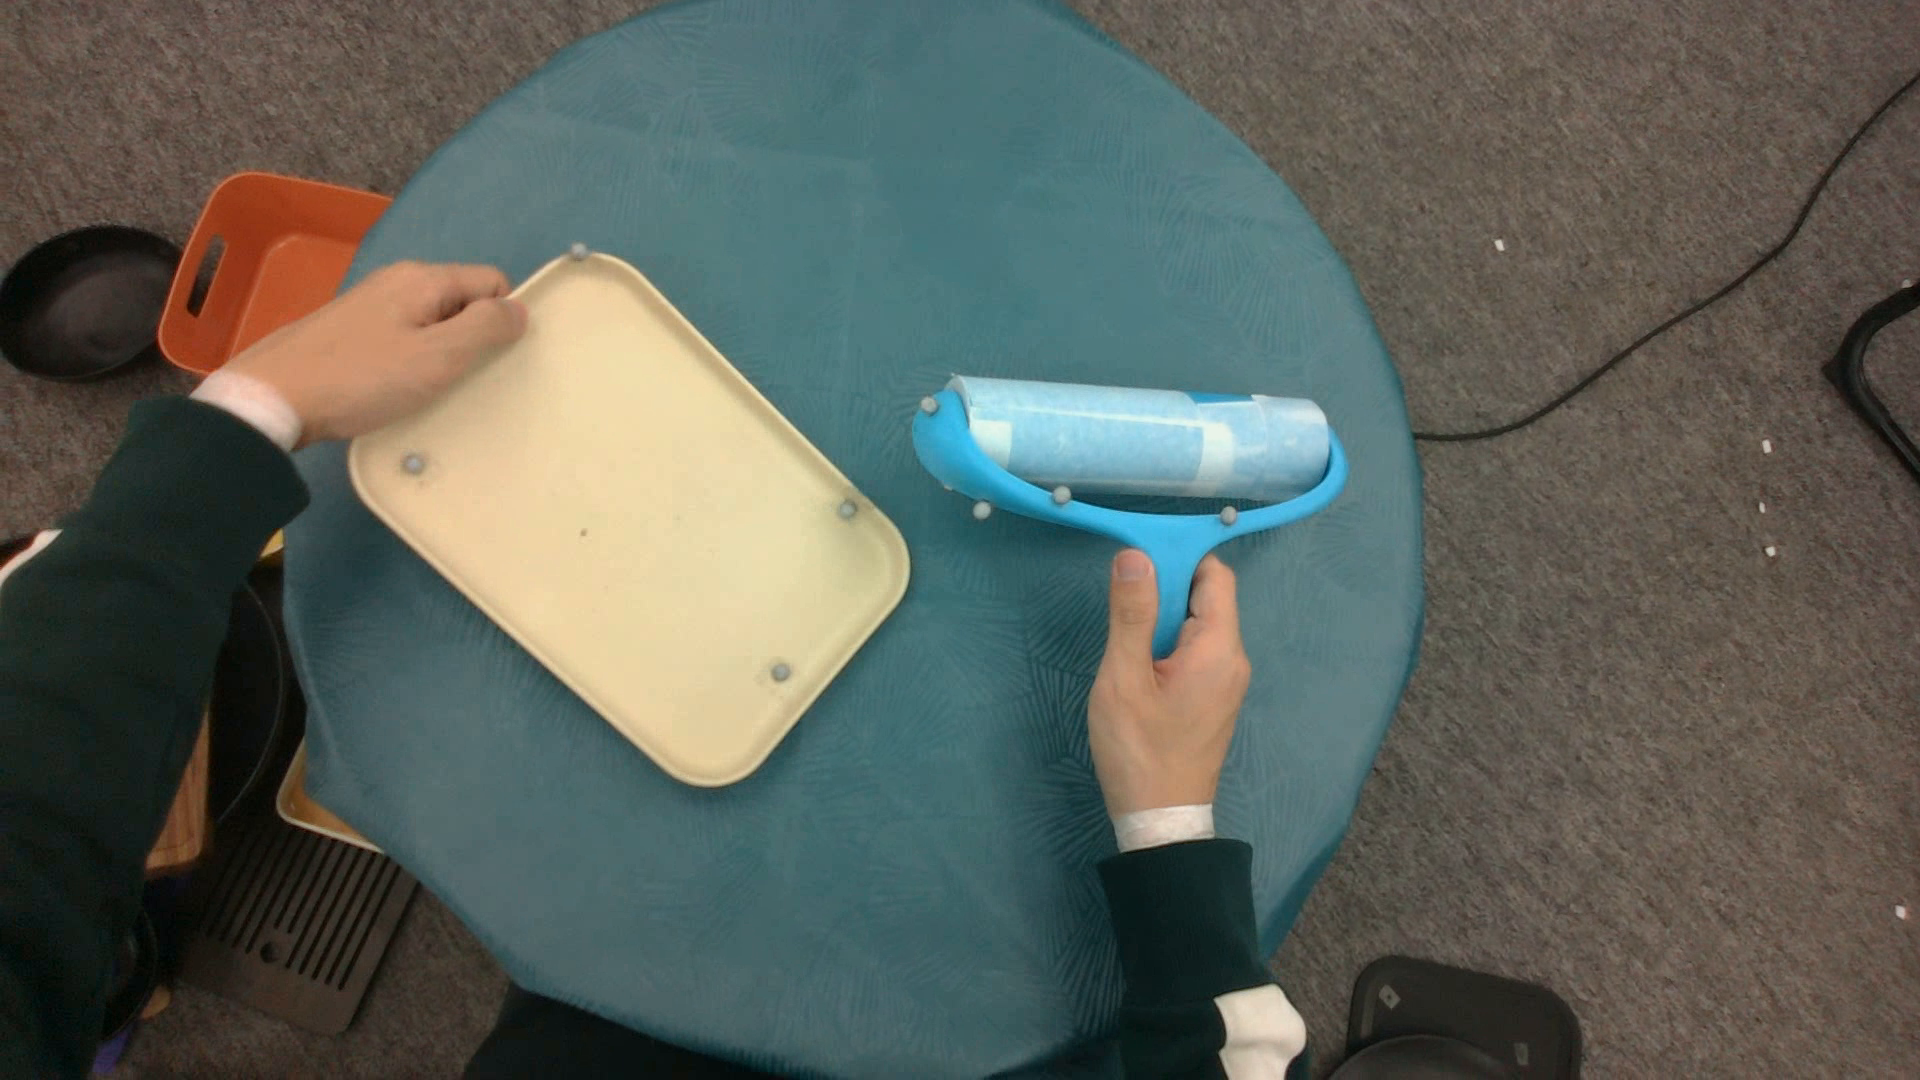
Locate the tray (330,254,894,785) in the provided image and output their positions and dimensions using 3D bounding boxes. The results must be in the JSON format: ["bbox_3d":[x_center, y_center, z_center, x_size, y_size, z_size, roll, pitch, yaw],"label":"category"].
[{"bbox_3d":[-0.160,-0.011,0.665,0.239,0.017,0.172,43,66,-9],"label":"tray"}]

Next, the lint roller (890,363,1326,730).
[{"bbox_3d":[0.084,-0.001,0.669,0.229,0.067,0.180,-3,78,-23],"label":"lint roller"}]
